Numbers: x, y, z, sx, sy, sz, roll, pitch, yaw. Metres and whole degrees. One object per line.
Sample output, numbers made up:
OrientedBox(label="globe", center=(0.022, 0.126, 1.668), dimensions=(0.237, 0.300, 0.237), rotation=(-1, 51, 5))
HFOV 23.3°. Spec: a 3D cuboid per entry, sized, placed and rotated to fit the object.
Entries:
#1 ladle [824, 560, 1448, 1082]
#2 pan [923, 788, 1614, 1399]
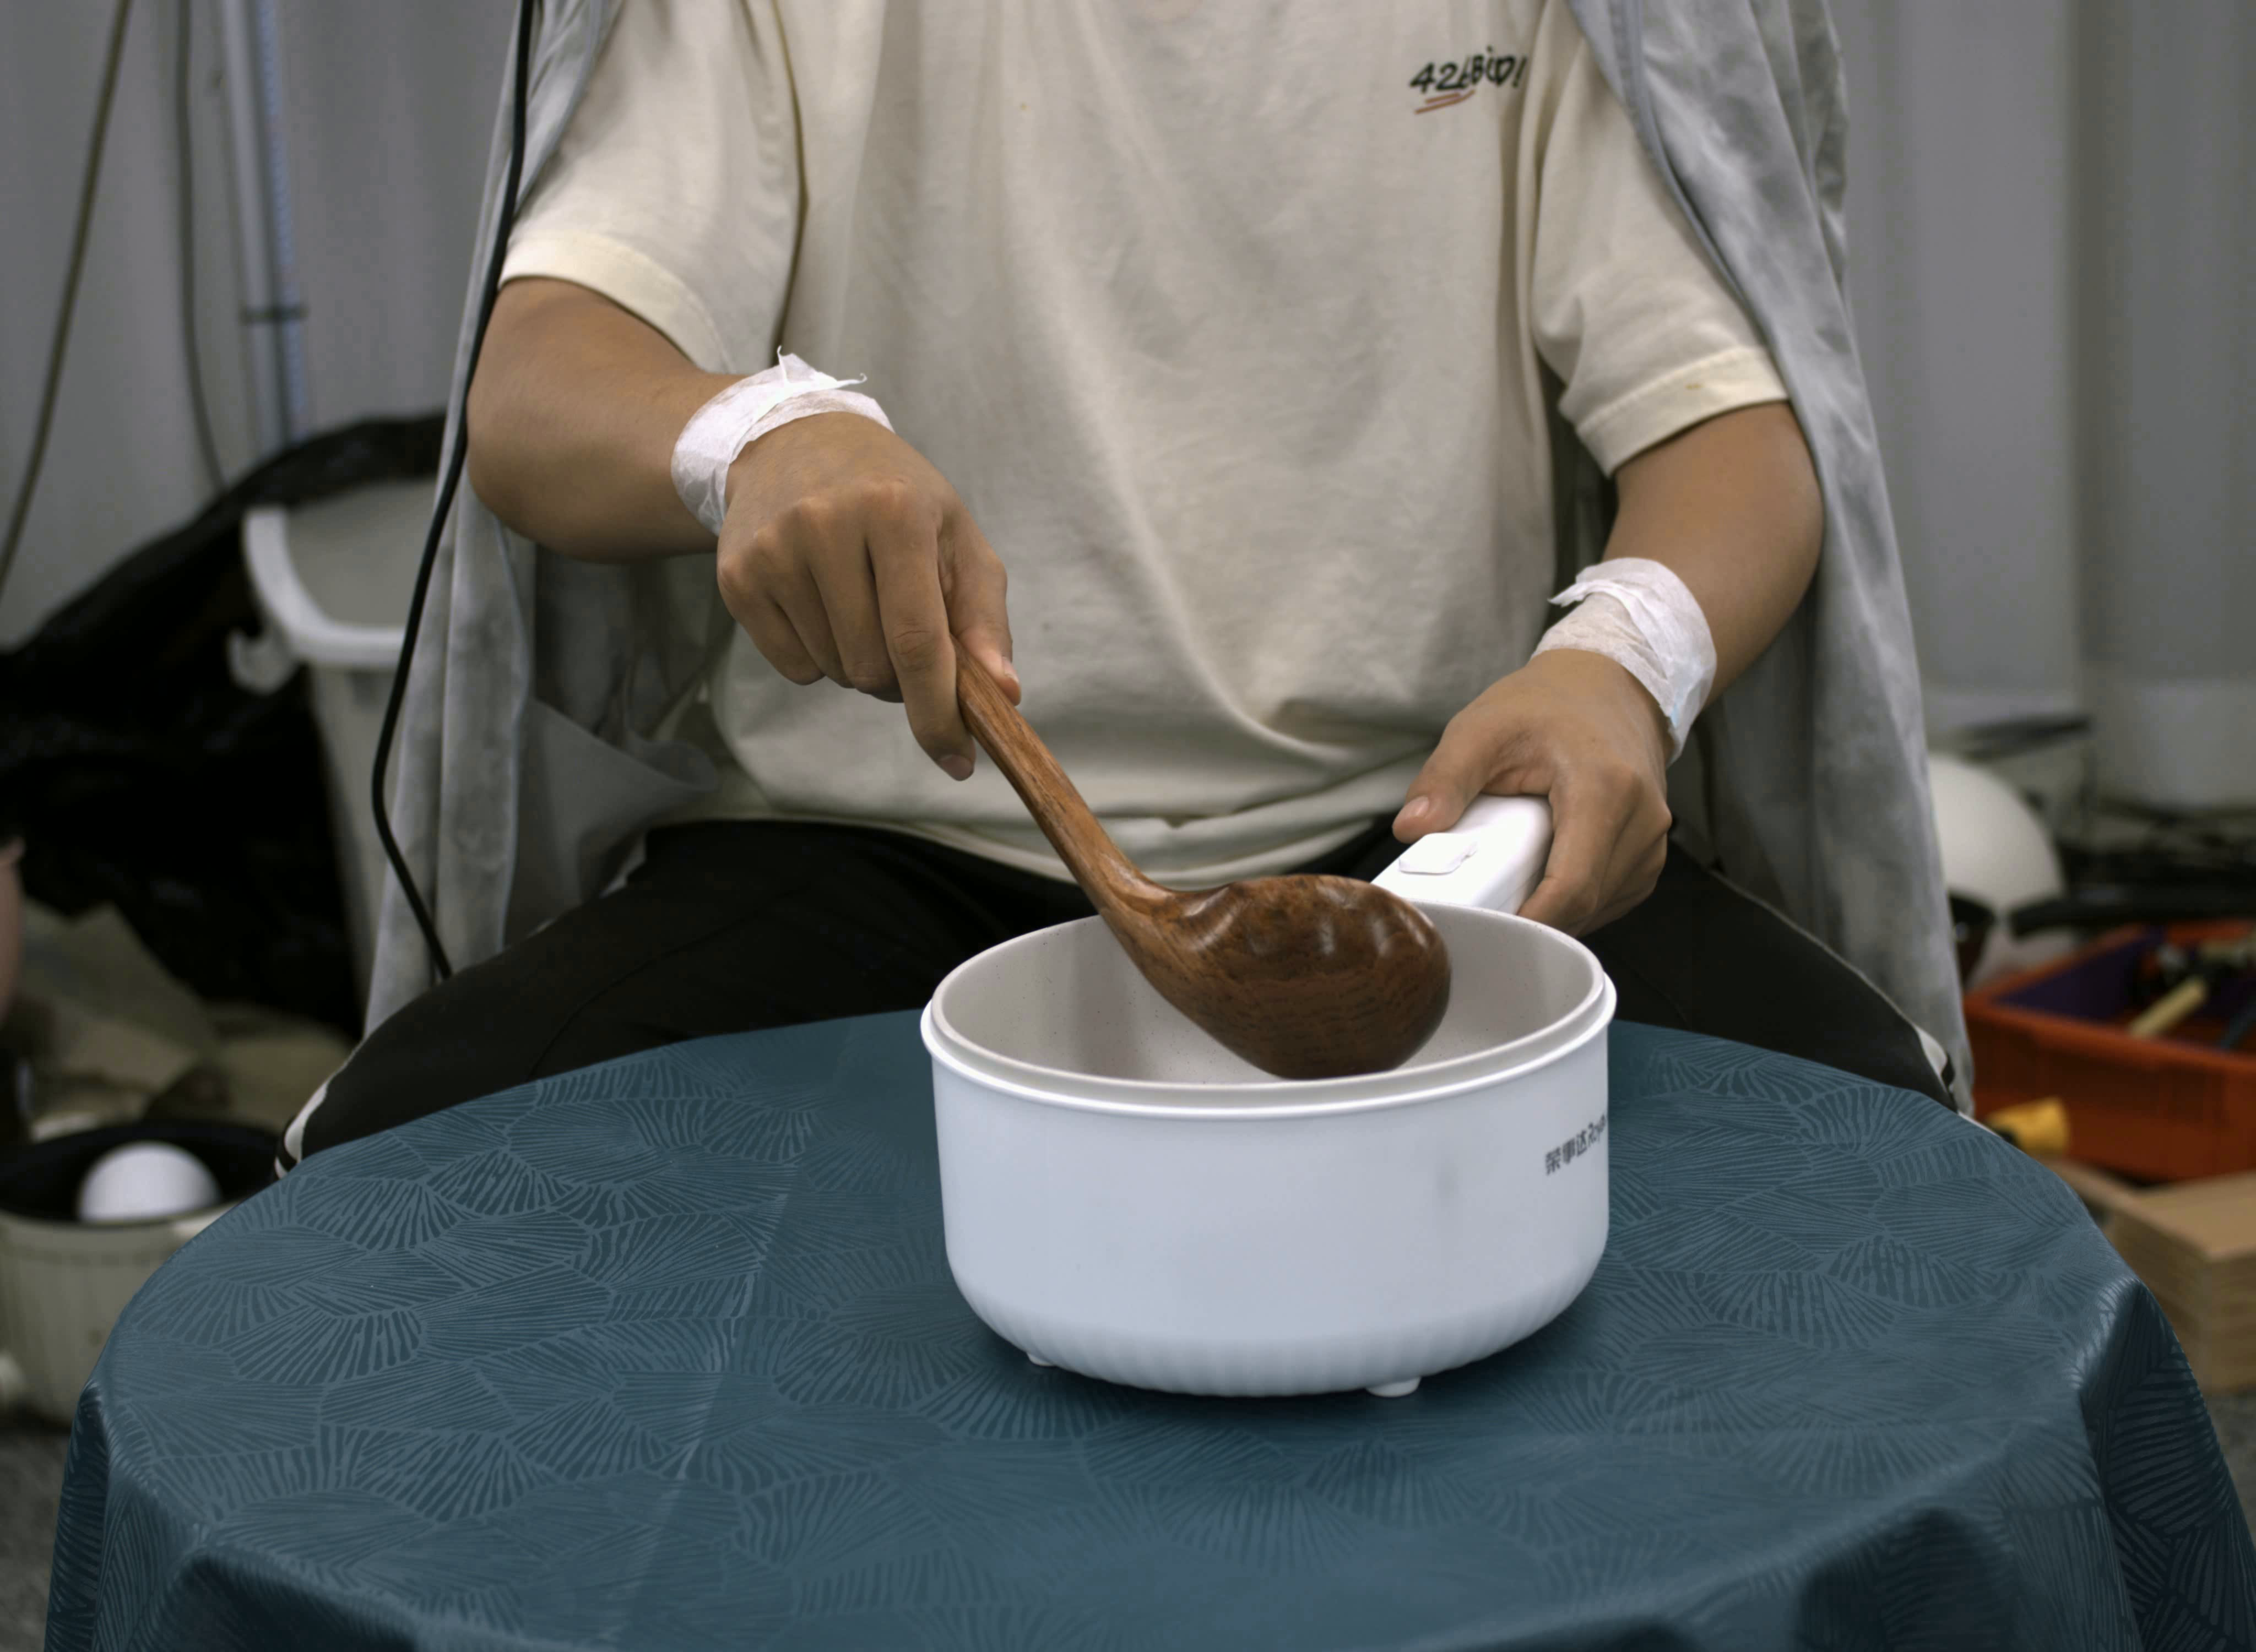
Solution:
OrientedBox(label="ladle", center=(0.001, -0.015, 1.683), dimensions=(0.076, 0.081, 0.278), rotation=(-18, 42, -23))
OrientedBox(label="pan", center=(0.070, 0.077, 1.661), dimensions=(0.201, 0.102, 0.356), rotation=(2, 15, 21))
